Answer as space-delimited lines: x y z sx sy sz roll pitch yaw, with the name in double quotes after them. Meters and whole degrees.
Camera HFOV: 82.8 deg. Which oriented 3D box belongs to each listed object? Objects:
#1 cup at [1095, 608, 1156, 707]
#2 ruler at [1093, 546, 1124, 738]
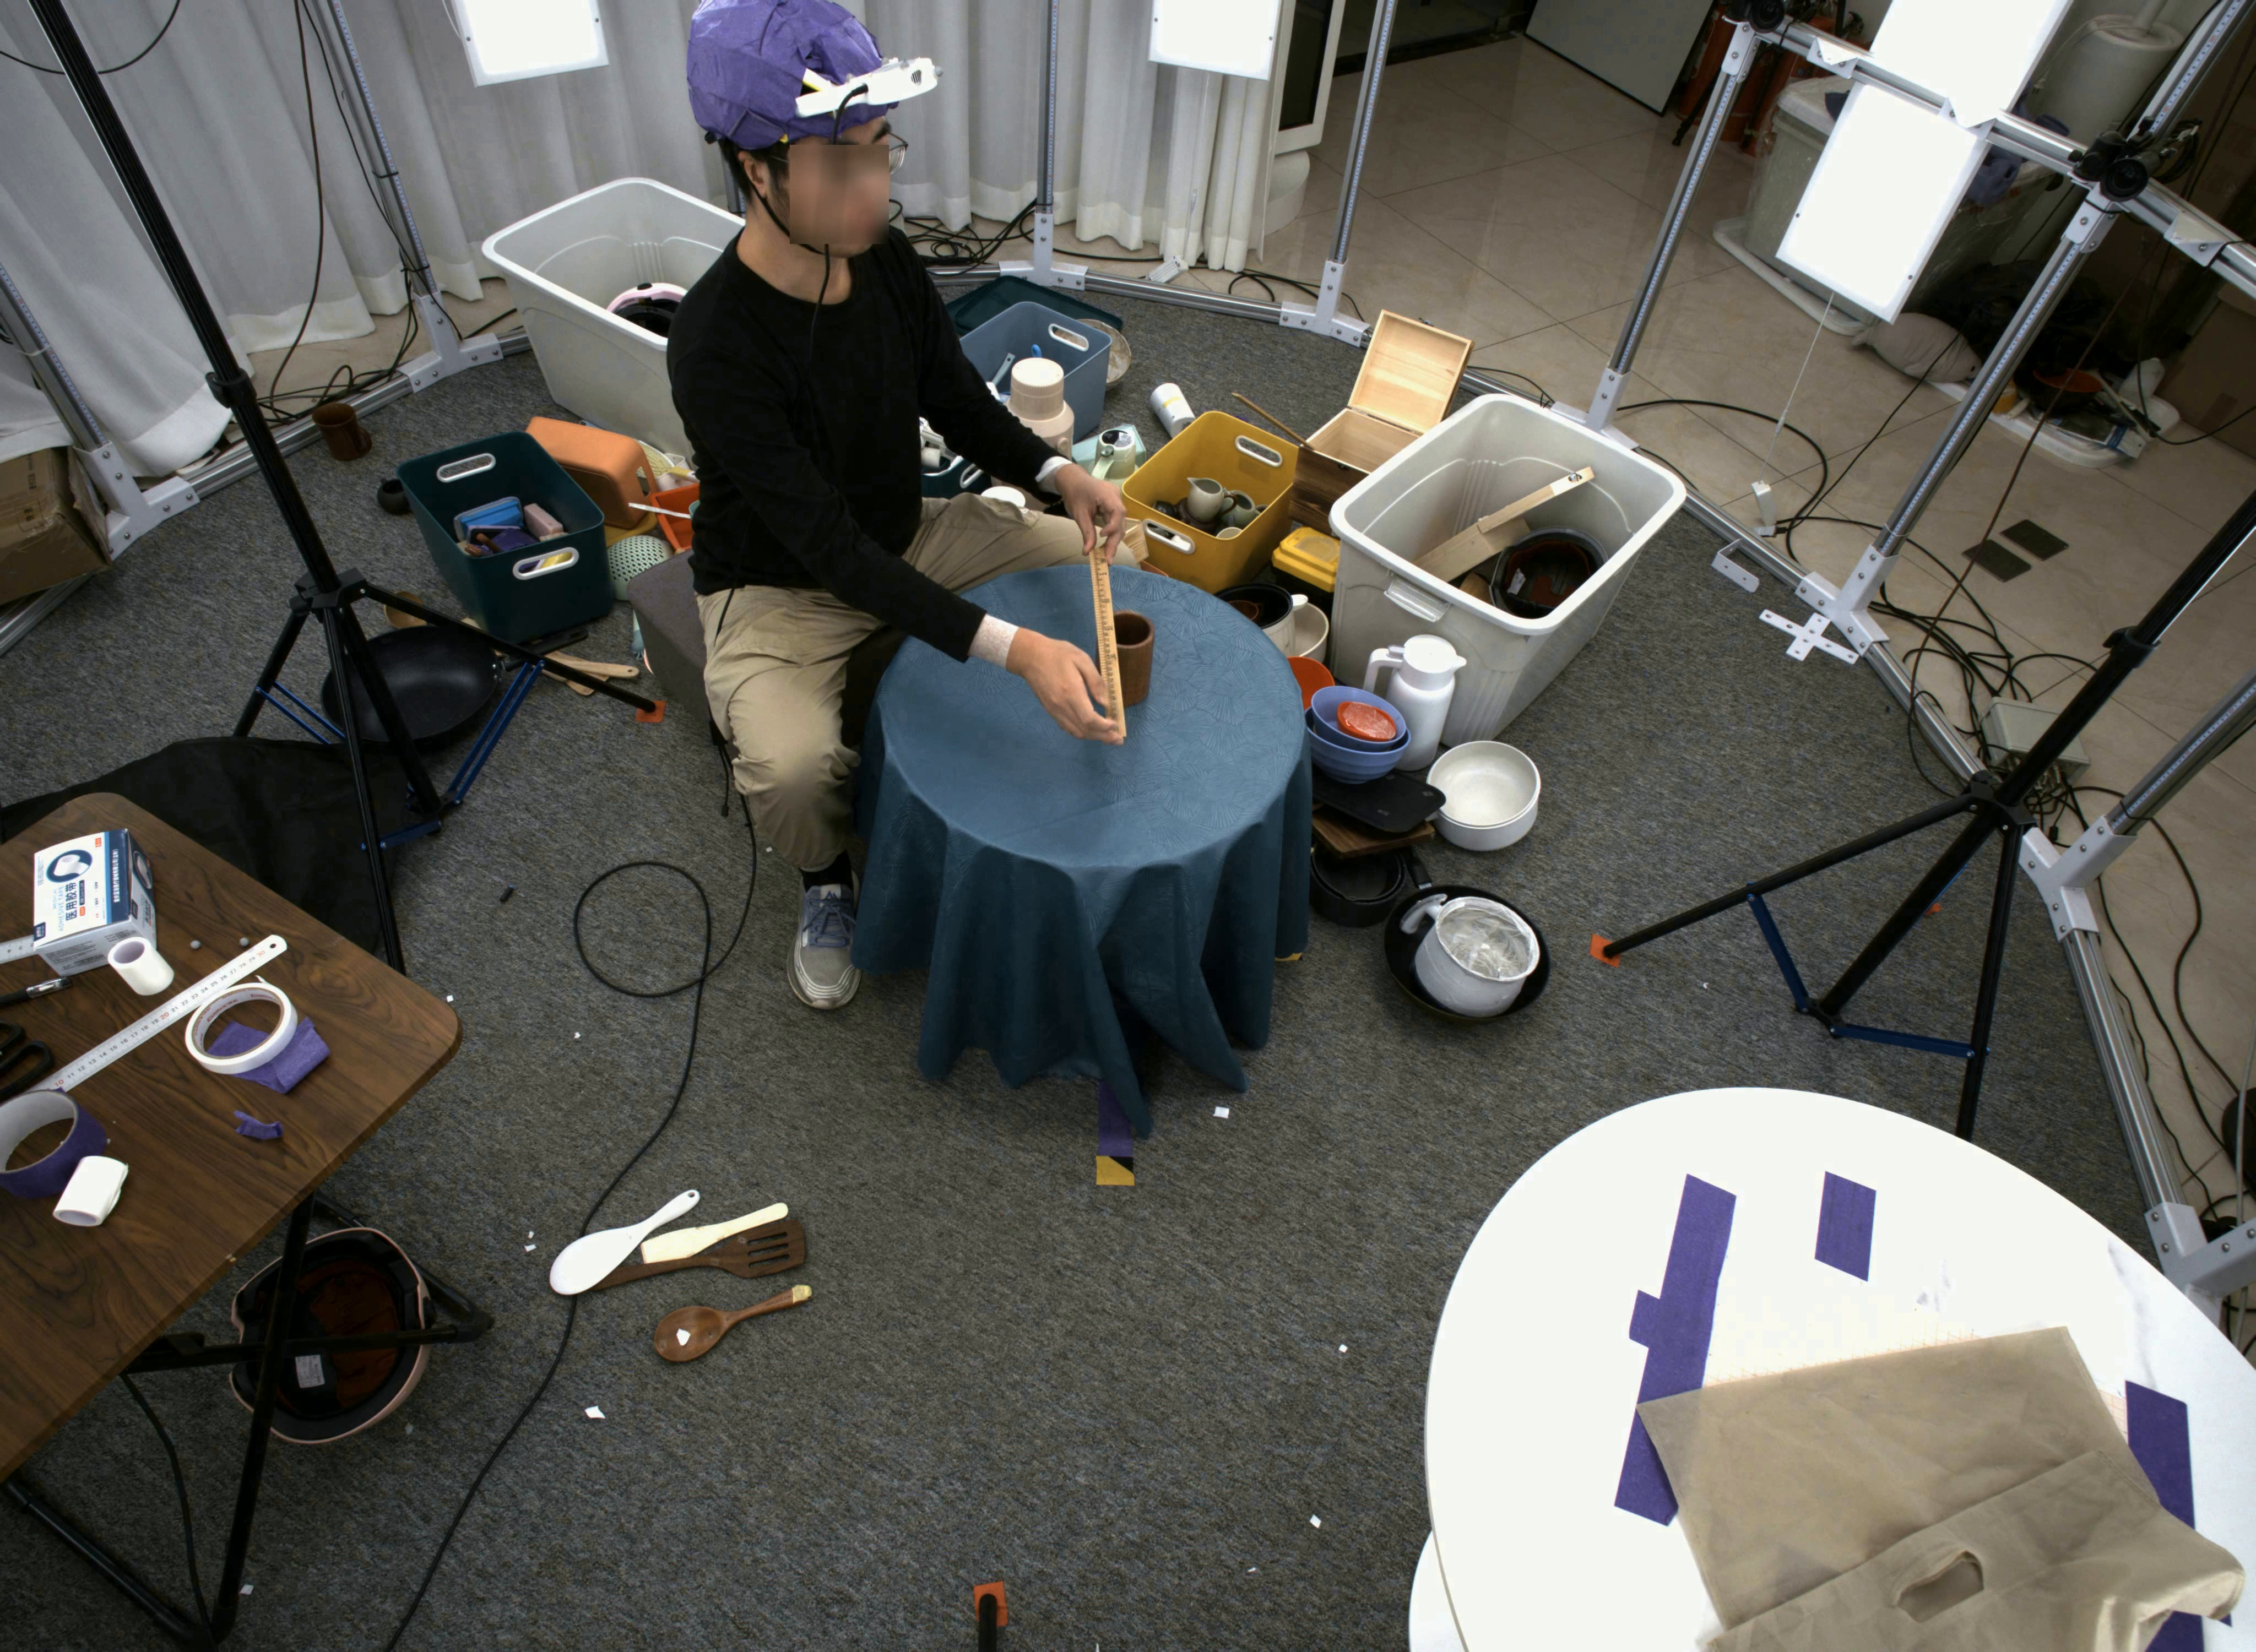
-0.005 -0.235 1.799 0.087 0.115 0.090 2 48 -3 "cup"
-0.028 -0.258 1.741 0.027 0.022 0.340 -1 56 -5 "ruler"
